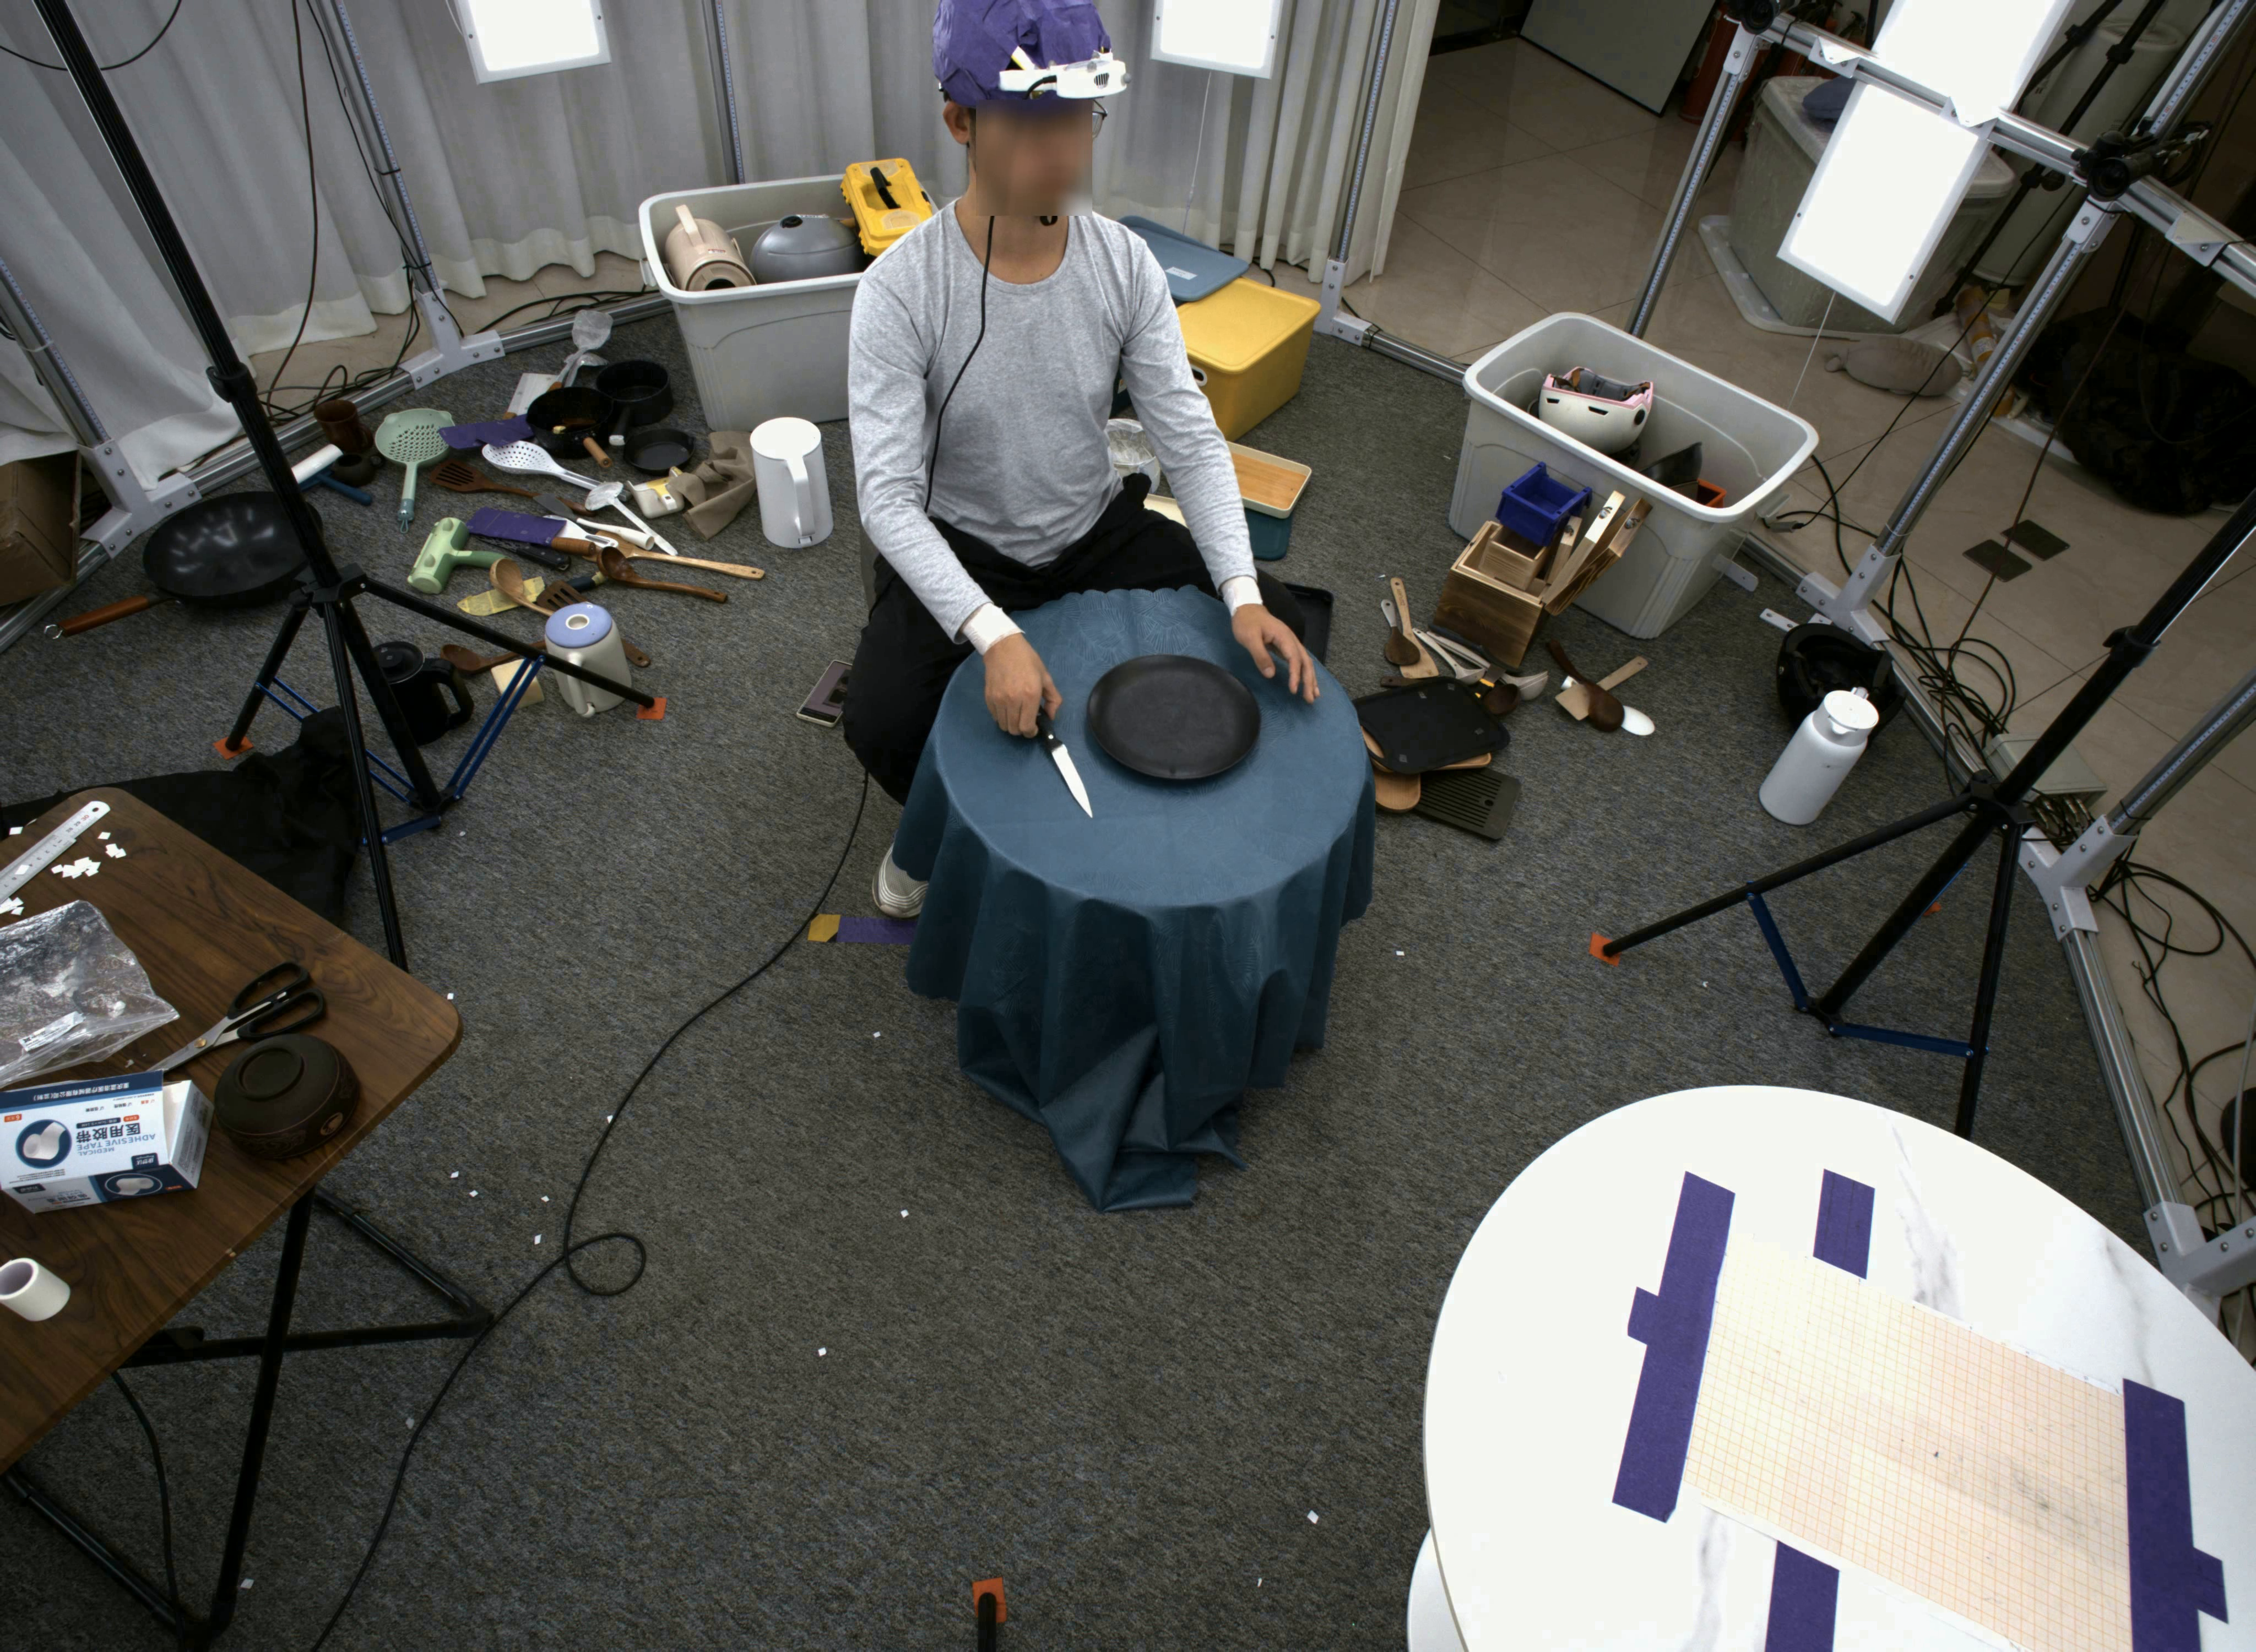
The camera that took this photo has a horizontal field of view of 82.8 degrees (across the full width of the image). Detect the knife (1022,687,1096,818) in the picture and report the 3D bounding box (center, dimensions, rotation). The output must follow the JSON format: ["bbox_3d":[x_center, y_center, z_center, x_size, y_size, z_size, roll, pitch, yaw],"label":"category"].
[{"bbox_3d":[-0.095,-0.100,1.737,0.024,0.016,0.243,-17,56,-18],"label":"knife"}]

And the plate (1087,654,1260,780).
[{"bbox_3d":[0.063,-0.150,1.787,0.244,0.023,0.250,2,49,-2],"label":"plate"}]
